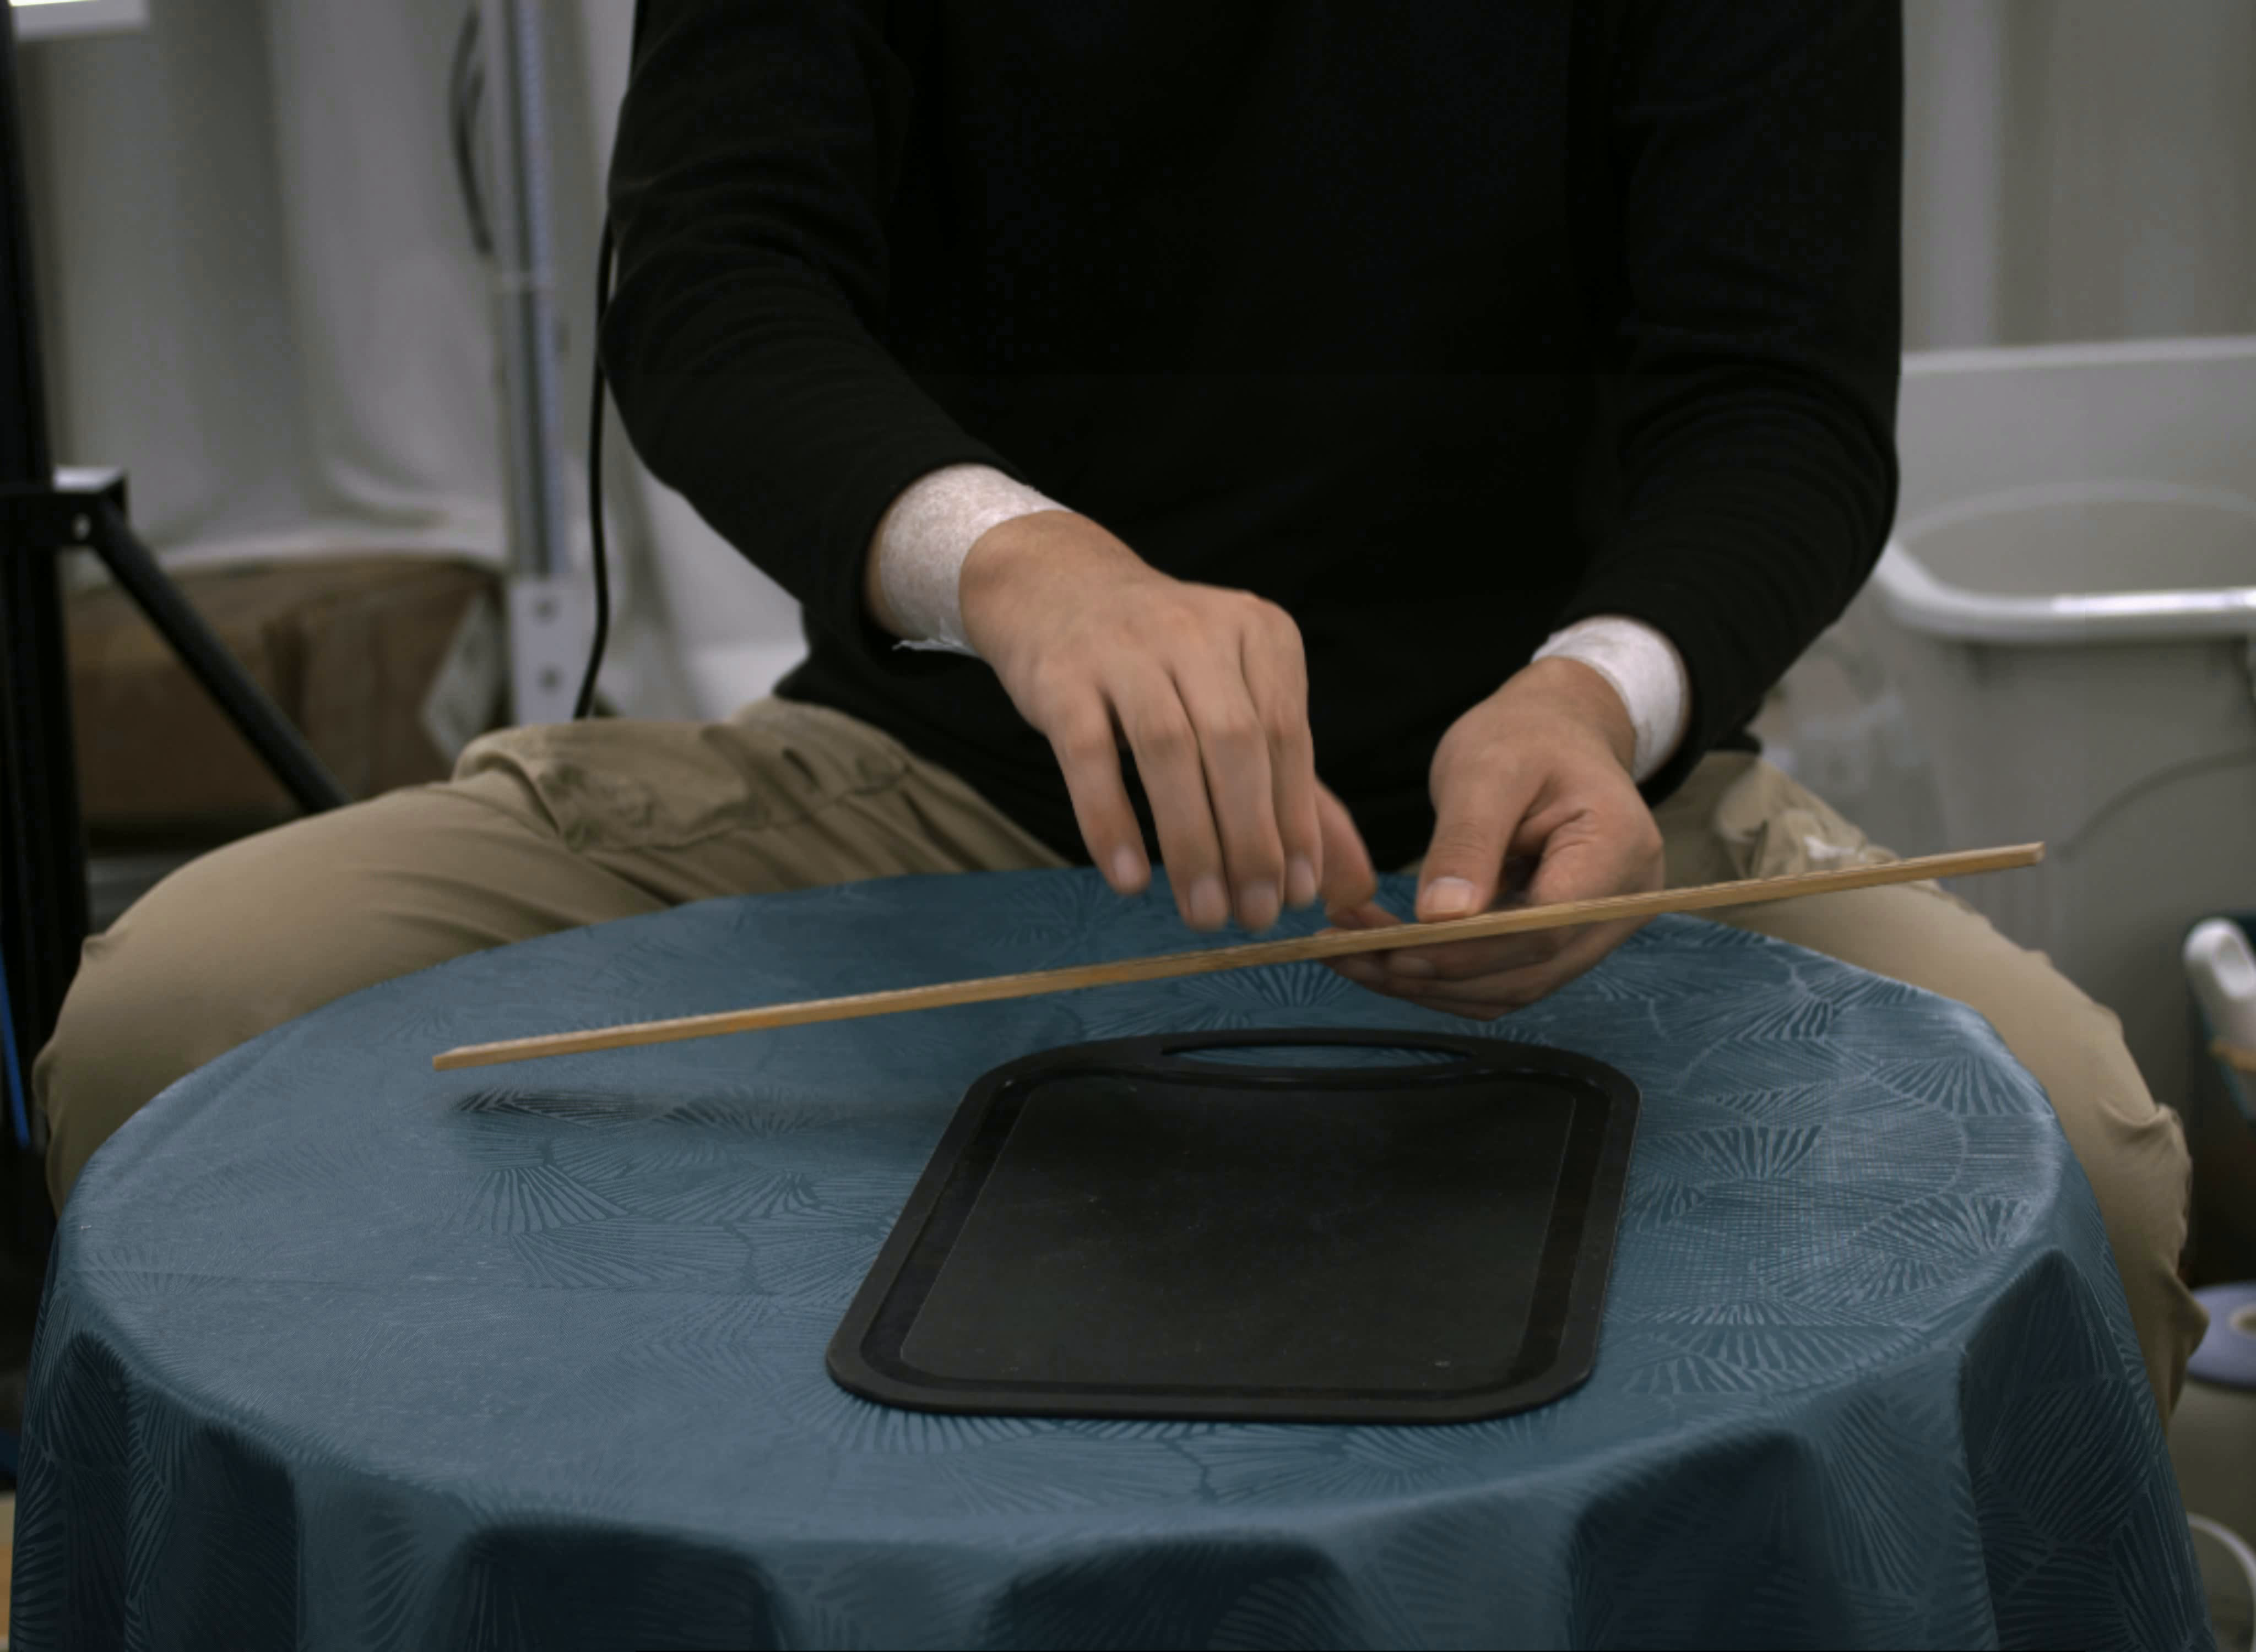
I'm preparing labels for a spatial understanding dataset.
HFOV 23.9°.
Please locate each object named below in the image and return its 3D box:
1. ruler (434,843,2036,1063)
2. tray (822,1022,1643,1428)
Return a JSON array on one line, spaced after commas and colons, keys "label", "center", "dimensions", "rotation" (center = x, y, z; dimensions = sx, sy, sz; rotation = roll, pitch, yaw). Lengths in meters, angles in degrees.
[{"label": "ruler", "center": [0.022, 0.040, 1.588], "dimensions": [0.505, 0.006, 0.026], "rotation": [-8, -1, 20]}, {"label": "tray", "center": [0.038, 0.108, 1.535], "dimensions": [0.212, 0.010, 0.324], "rotation": [0, 16, 10]}]
